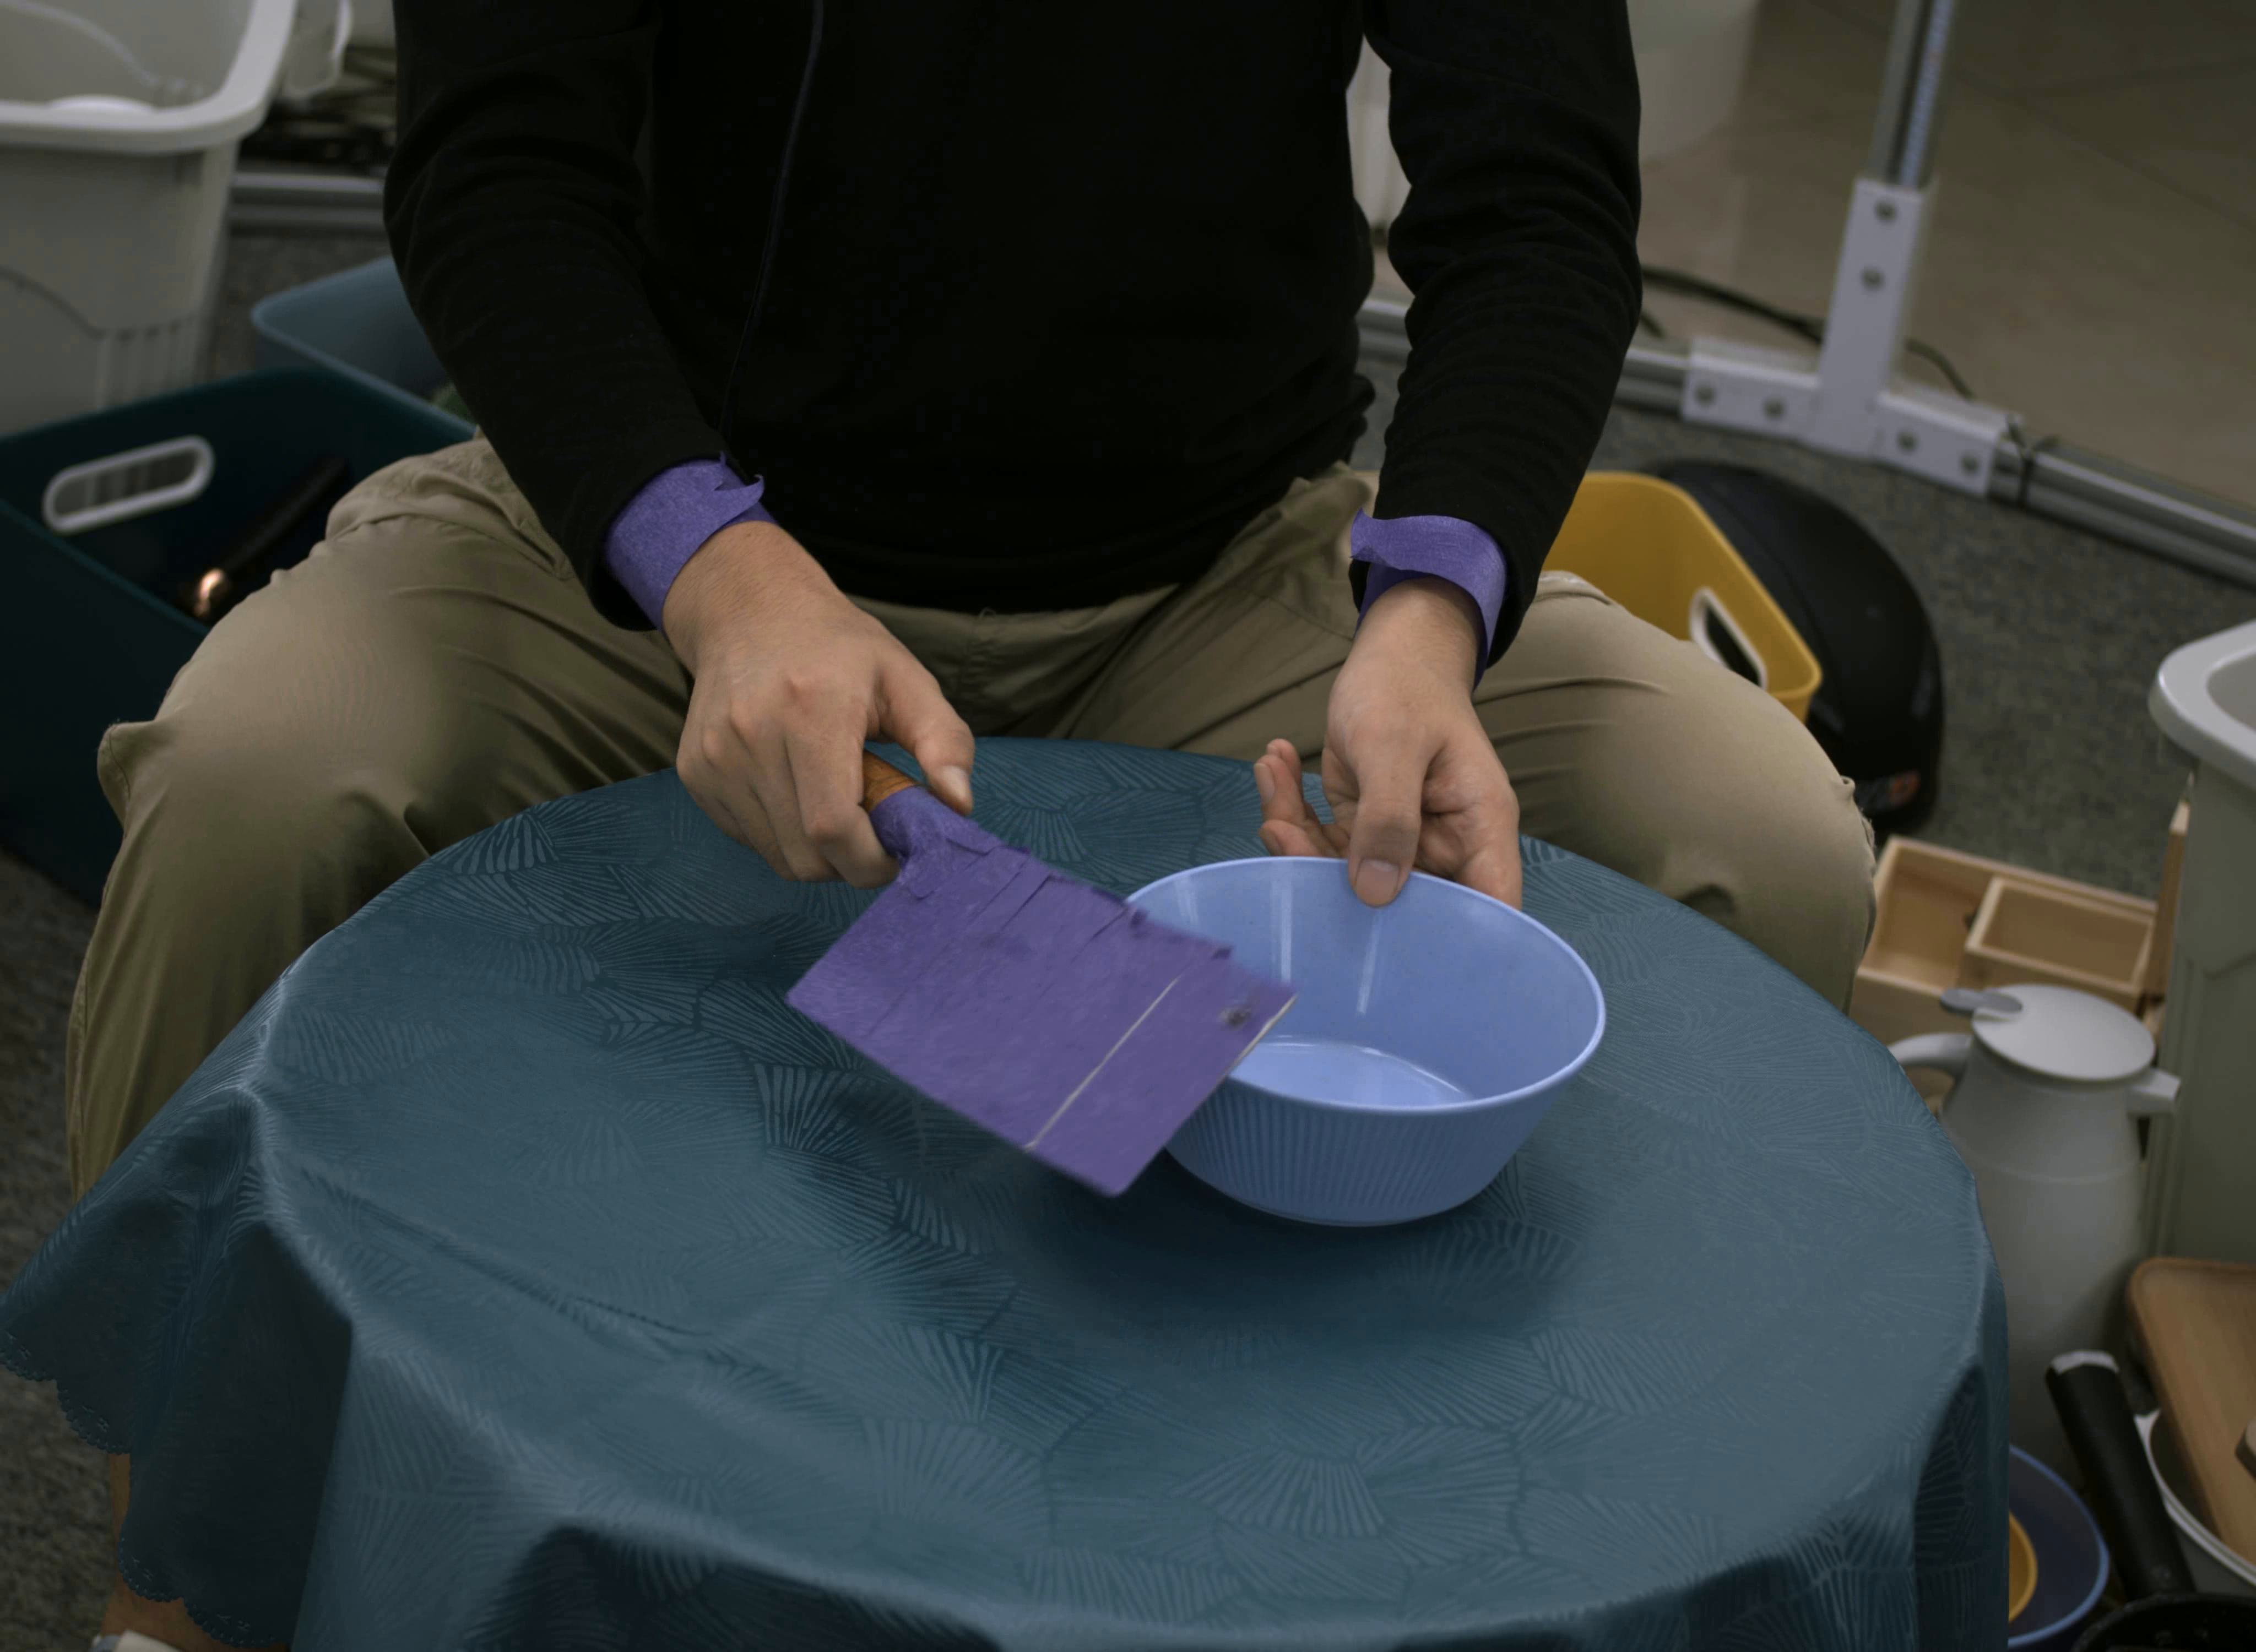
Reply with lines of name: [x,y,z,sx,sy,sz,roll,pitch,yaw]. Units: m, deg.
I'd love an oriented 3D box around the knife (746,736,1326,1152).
knife: [-0.058,0.037,1.799,0.104,0.032,0.317,-48,34,-15]

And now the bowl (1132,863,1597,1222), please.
bowl: [0.070,0.080,1.828,0.175,0.070,0.177,6,26,-3]
